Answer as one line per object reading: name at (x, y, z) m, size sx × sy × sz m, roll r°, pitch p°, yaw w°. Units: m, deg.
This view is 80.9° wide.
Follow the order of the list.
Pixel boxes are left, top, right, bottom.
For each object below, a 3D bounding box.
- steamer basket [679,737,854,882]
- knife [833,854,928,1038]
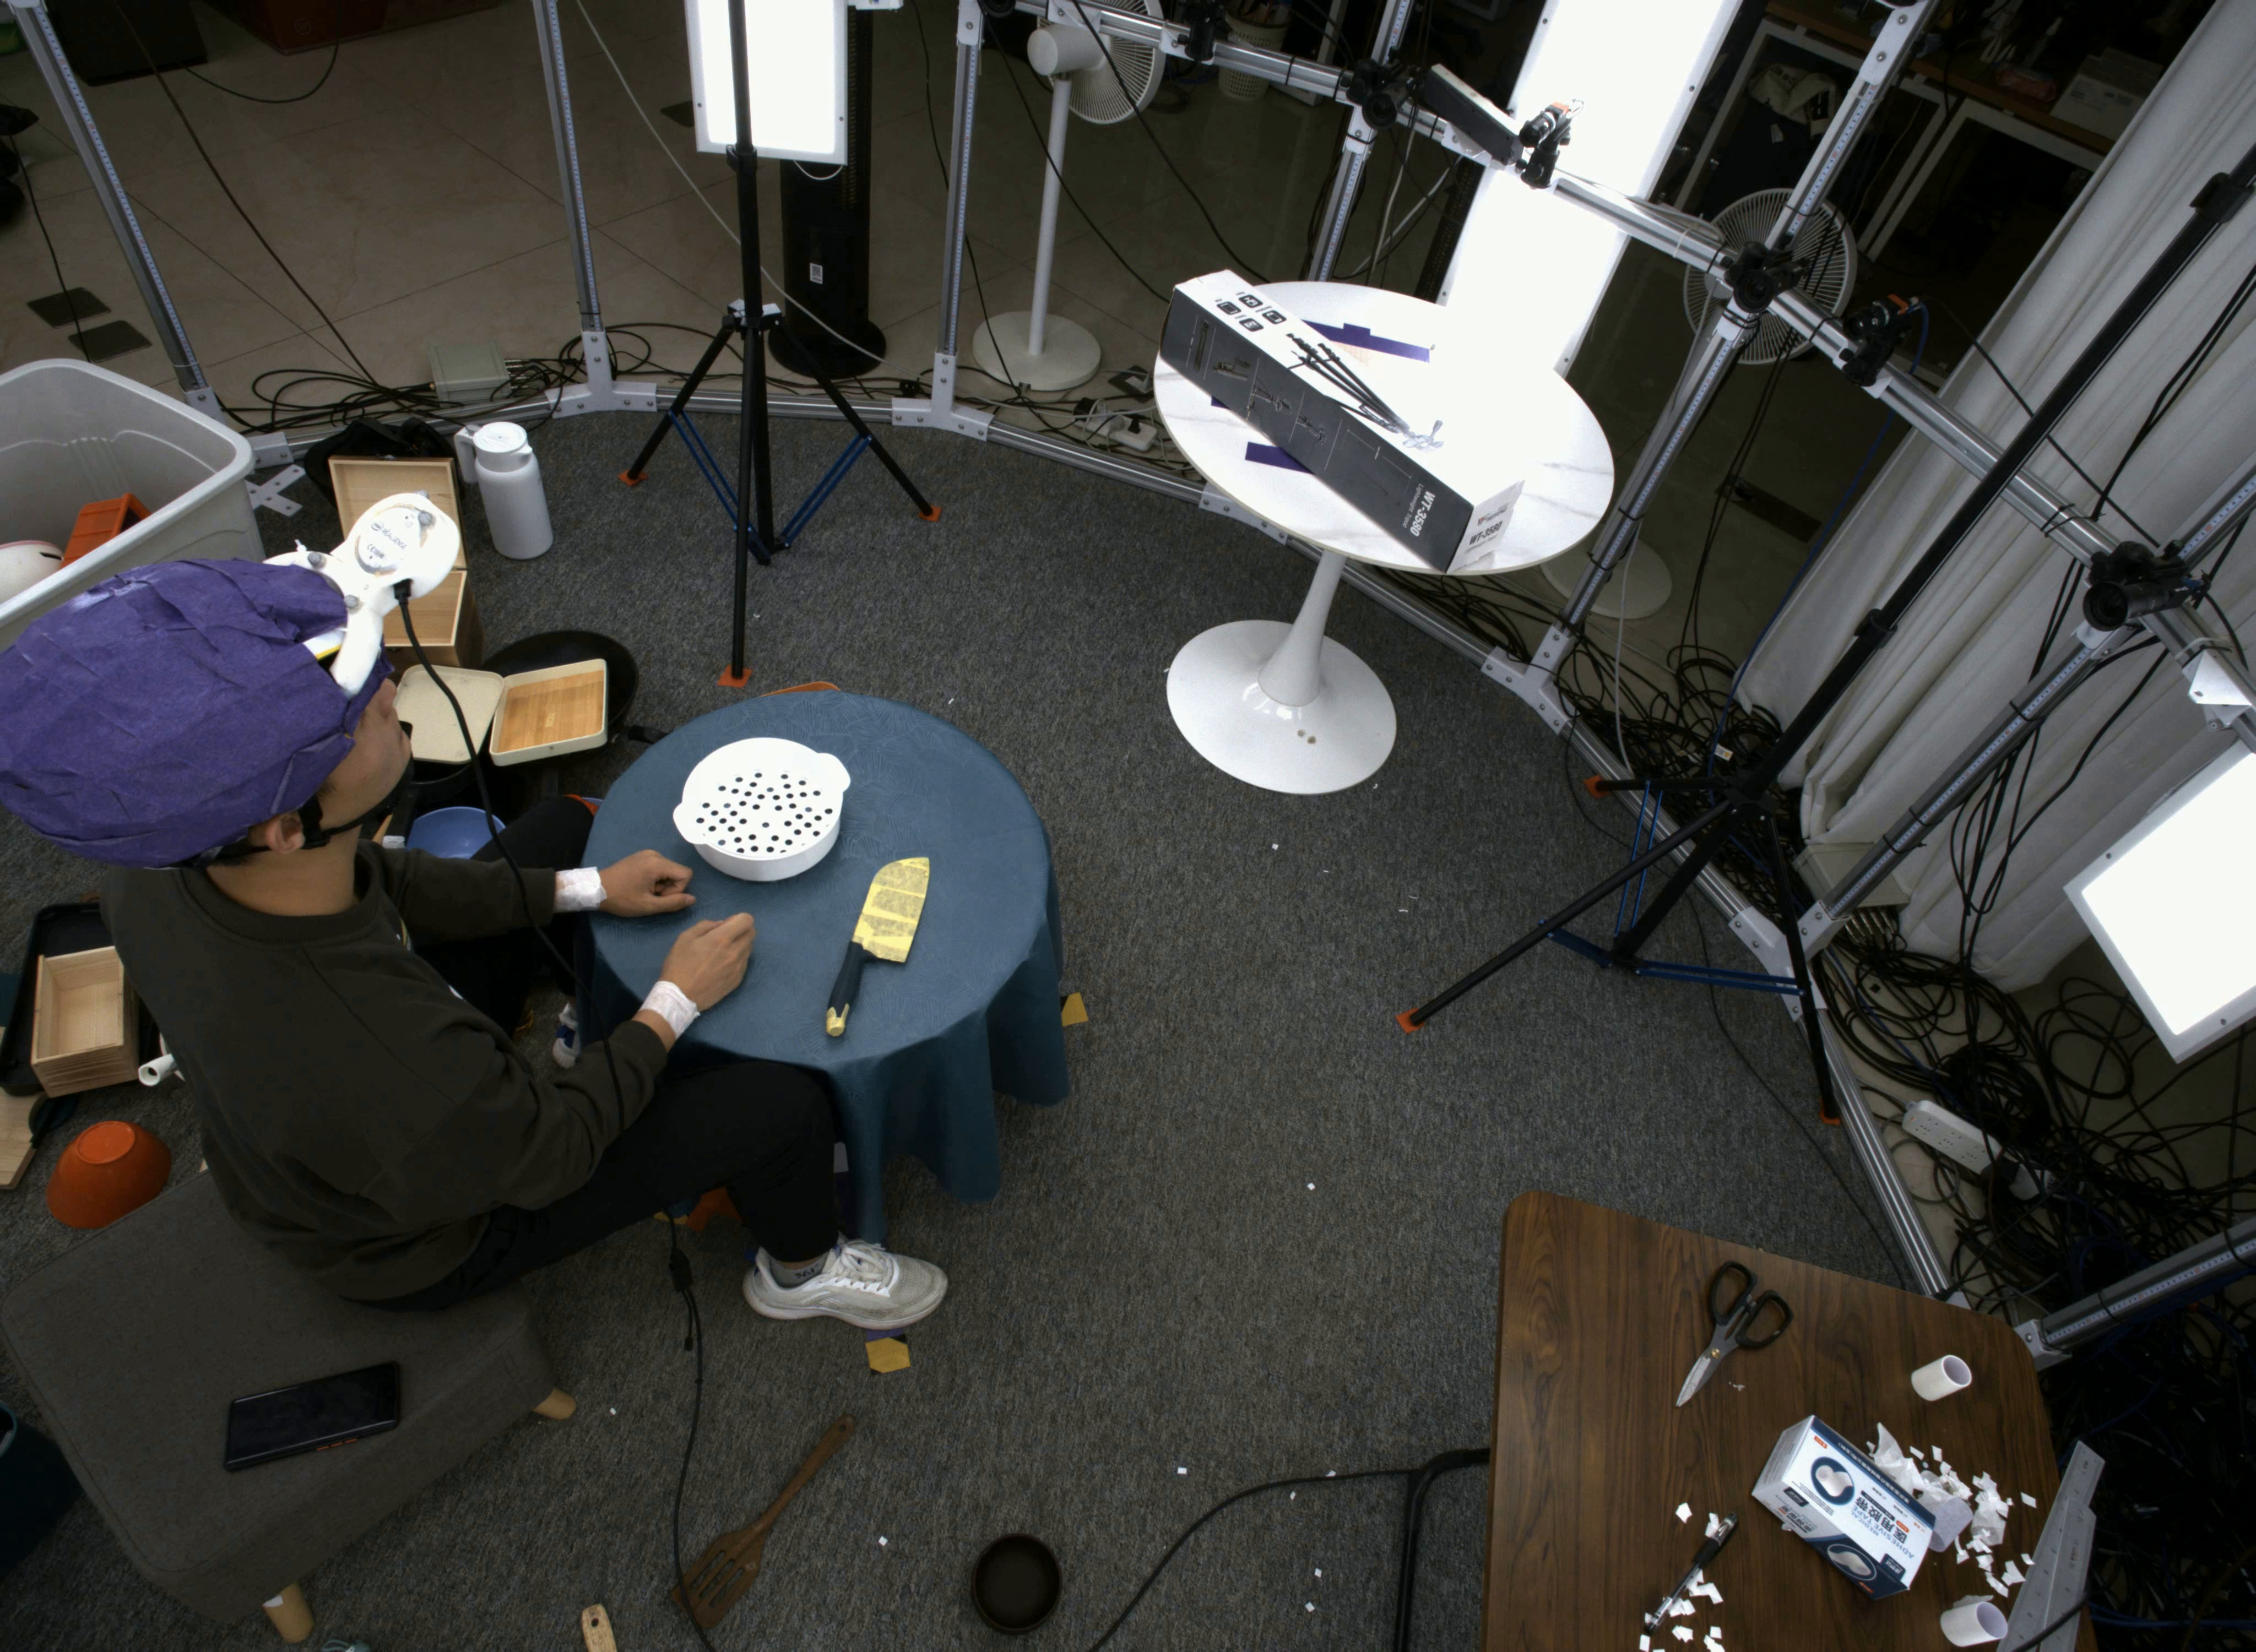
steamer basket at (-0.470, -0.022, 1.697) m, size 0.231 × 0.071 × 0.197 m, roll -24°, pitch 62°, yaw -27°
knife at (-0.312, 0.144, 1.647) m, size 0.080 × 0.028 × 0.285 m, roll 15°, pitch 51°, yaw -1°
